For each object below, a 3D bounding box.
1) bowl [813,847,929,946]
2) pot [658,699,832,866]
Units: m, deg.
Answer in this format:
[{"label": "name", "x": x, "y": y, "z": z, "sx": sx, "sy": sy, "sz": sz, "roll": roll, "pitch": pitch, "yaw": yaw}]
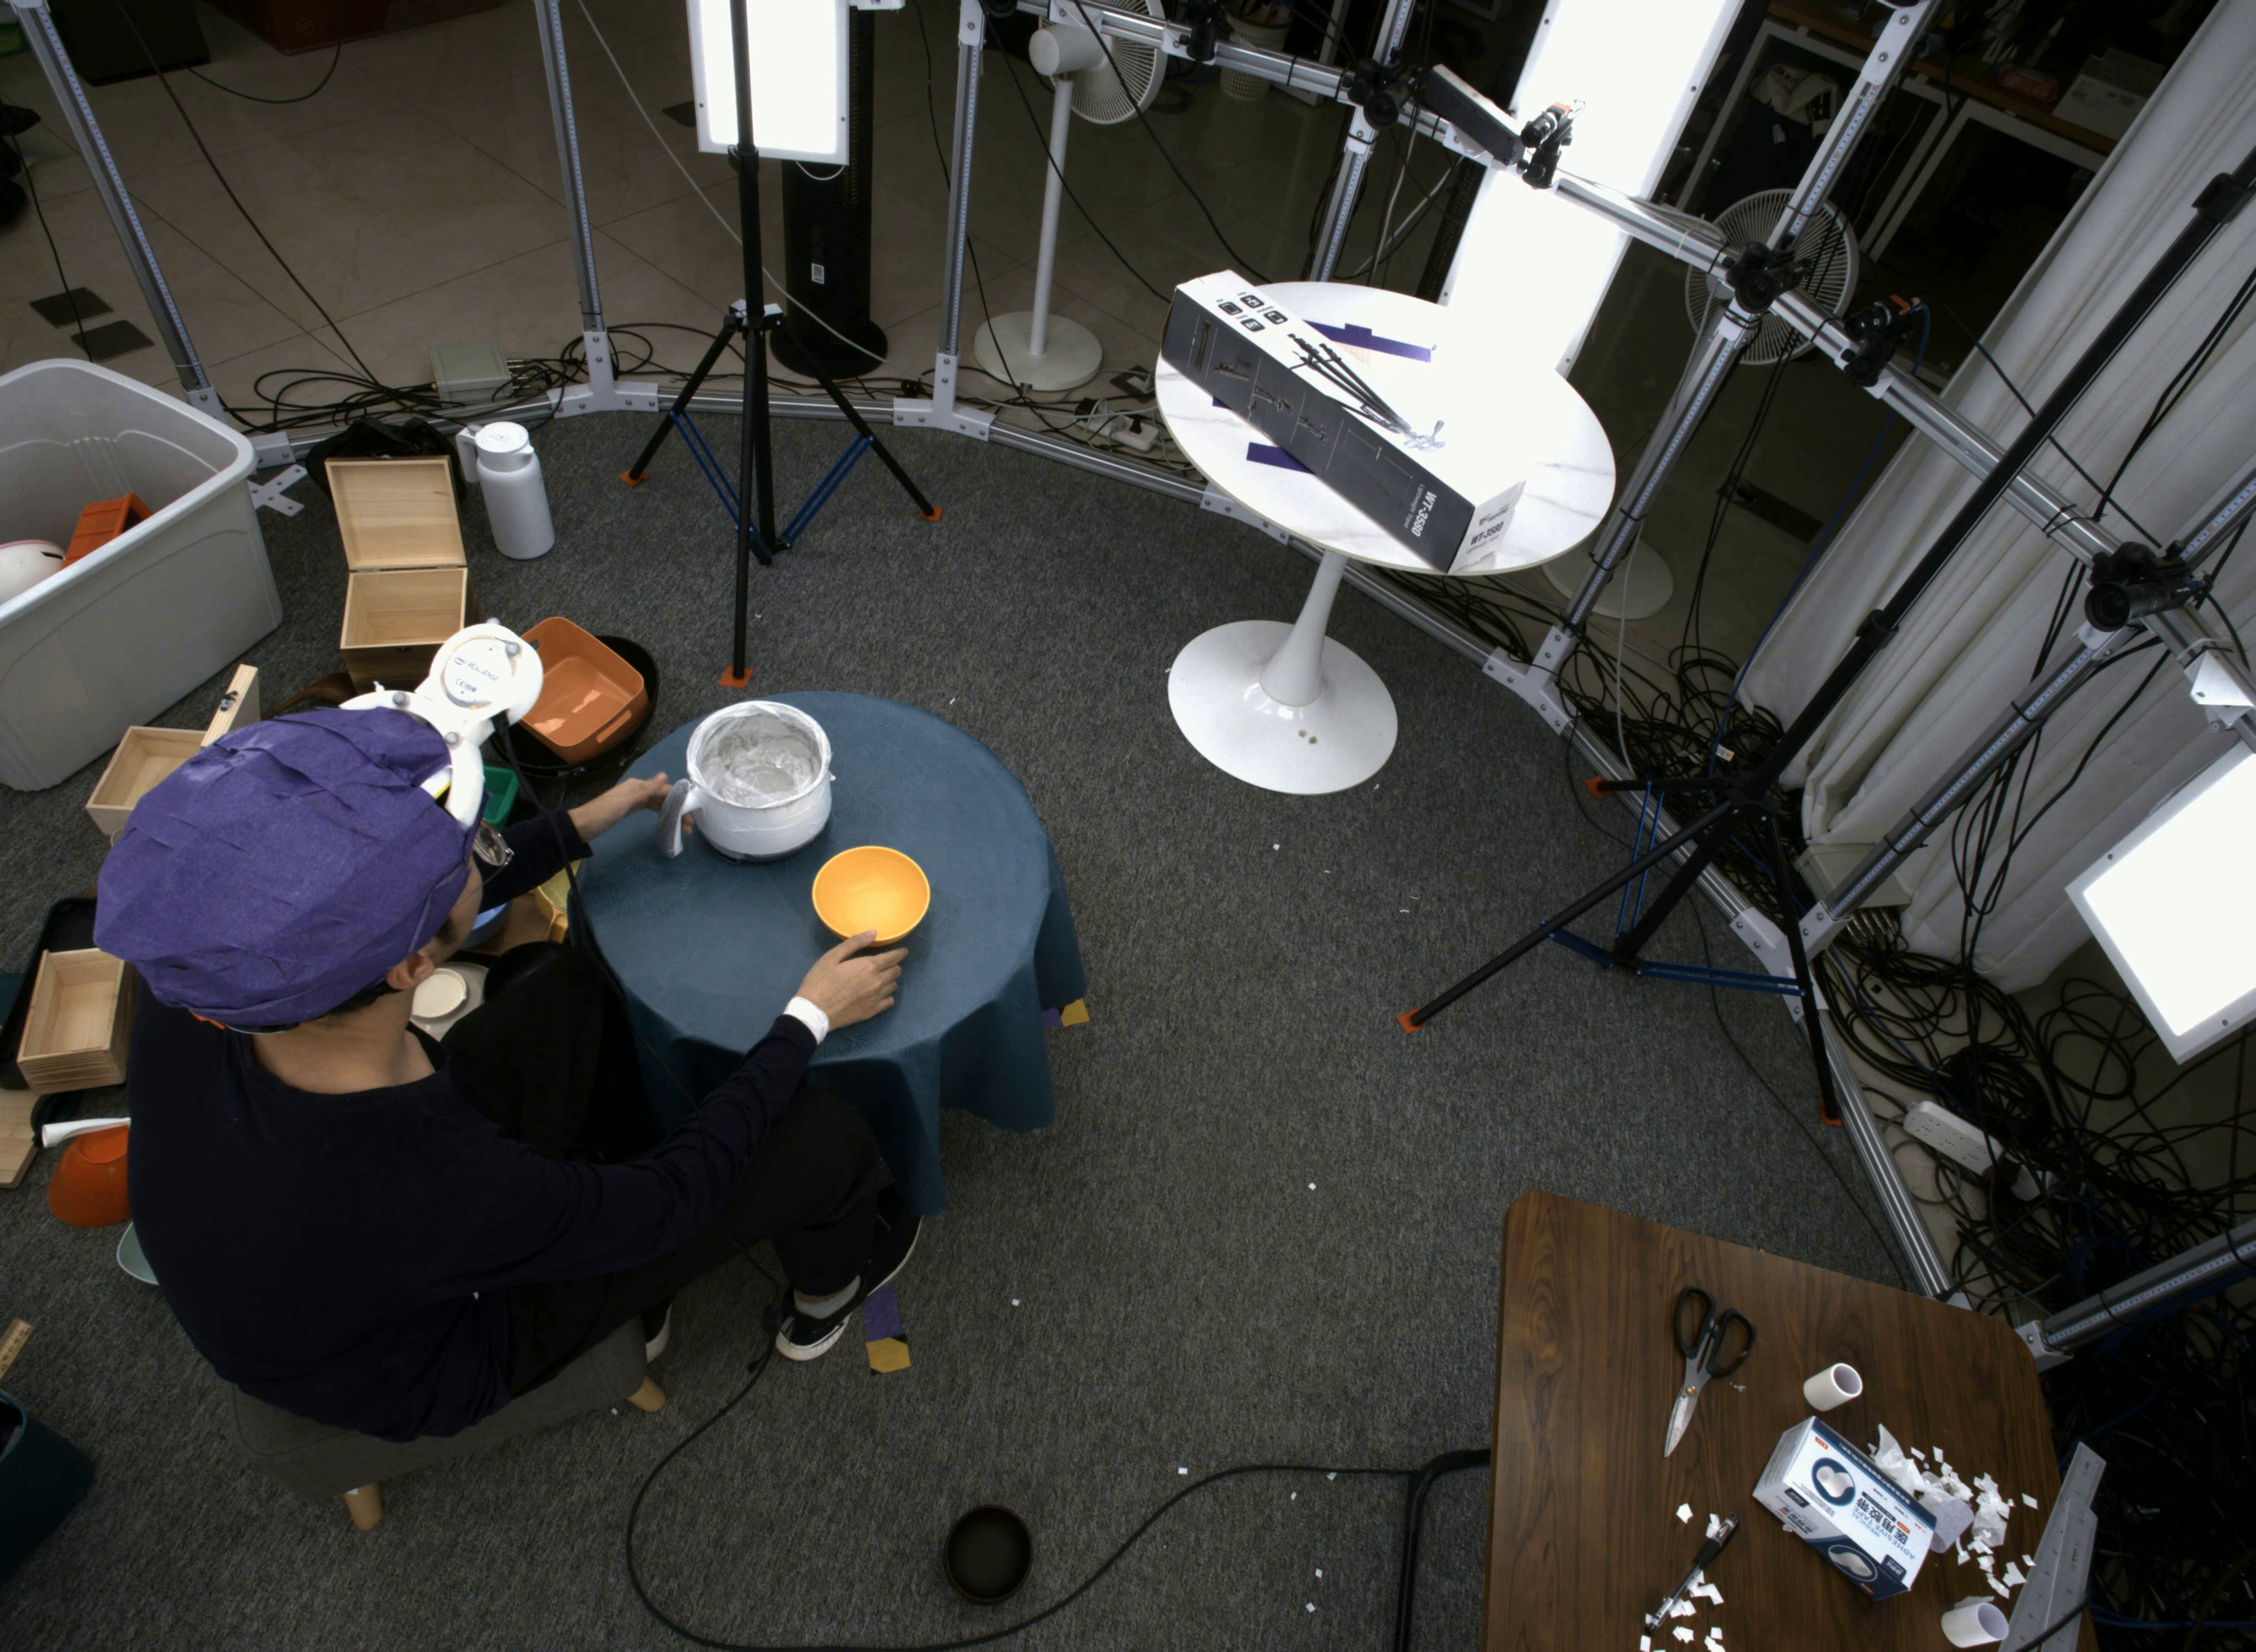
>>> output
[{"label": "bowl", "x": -0.325, "y": 0.099, "z": 1.647, "sx": 0.145, "sy": 0.061, "sz": 0.142, "roll": 8, "pitch": 51, "yaw": -8}, {"label": "pot", "x": -0.495, "y": -0.044, "z": 1.660, "sx": 0.234, "sy": 0.140, "sz": 0.174, "roll": -29, "pitch": 62, "yaw": -31}]
